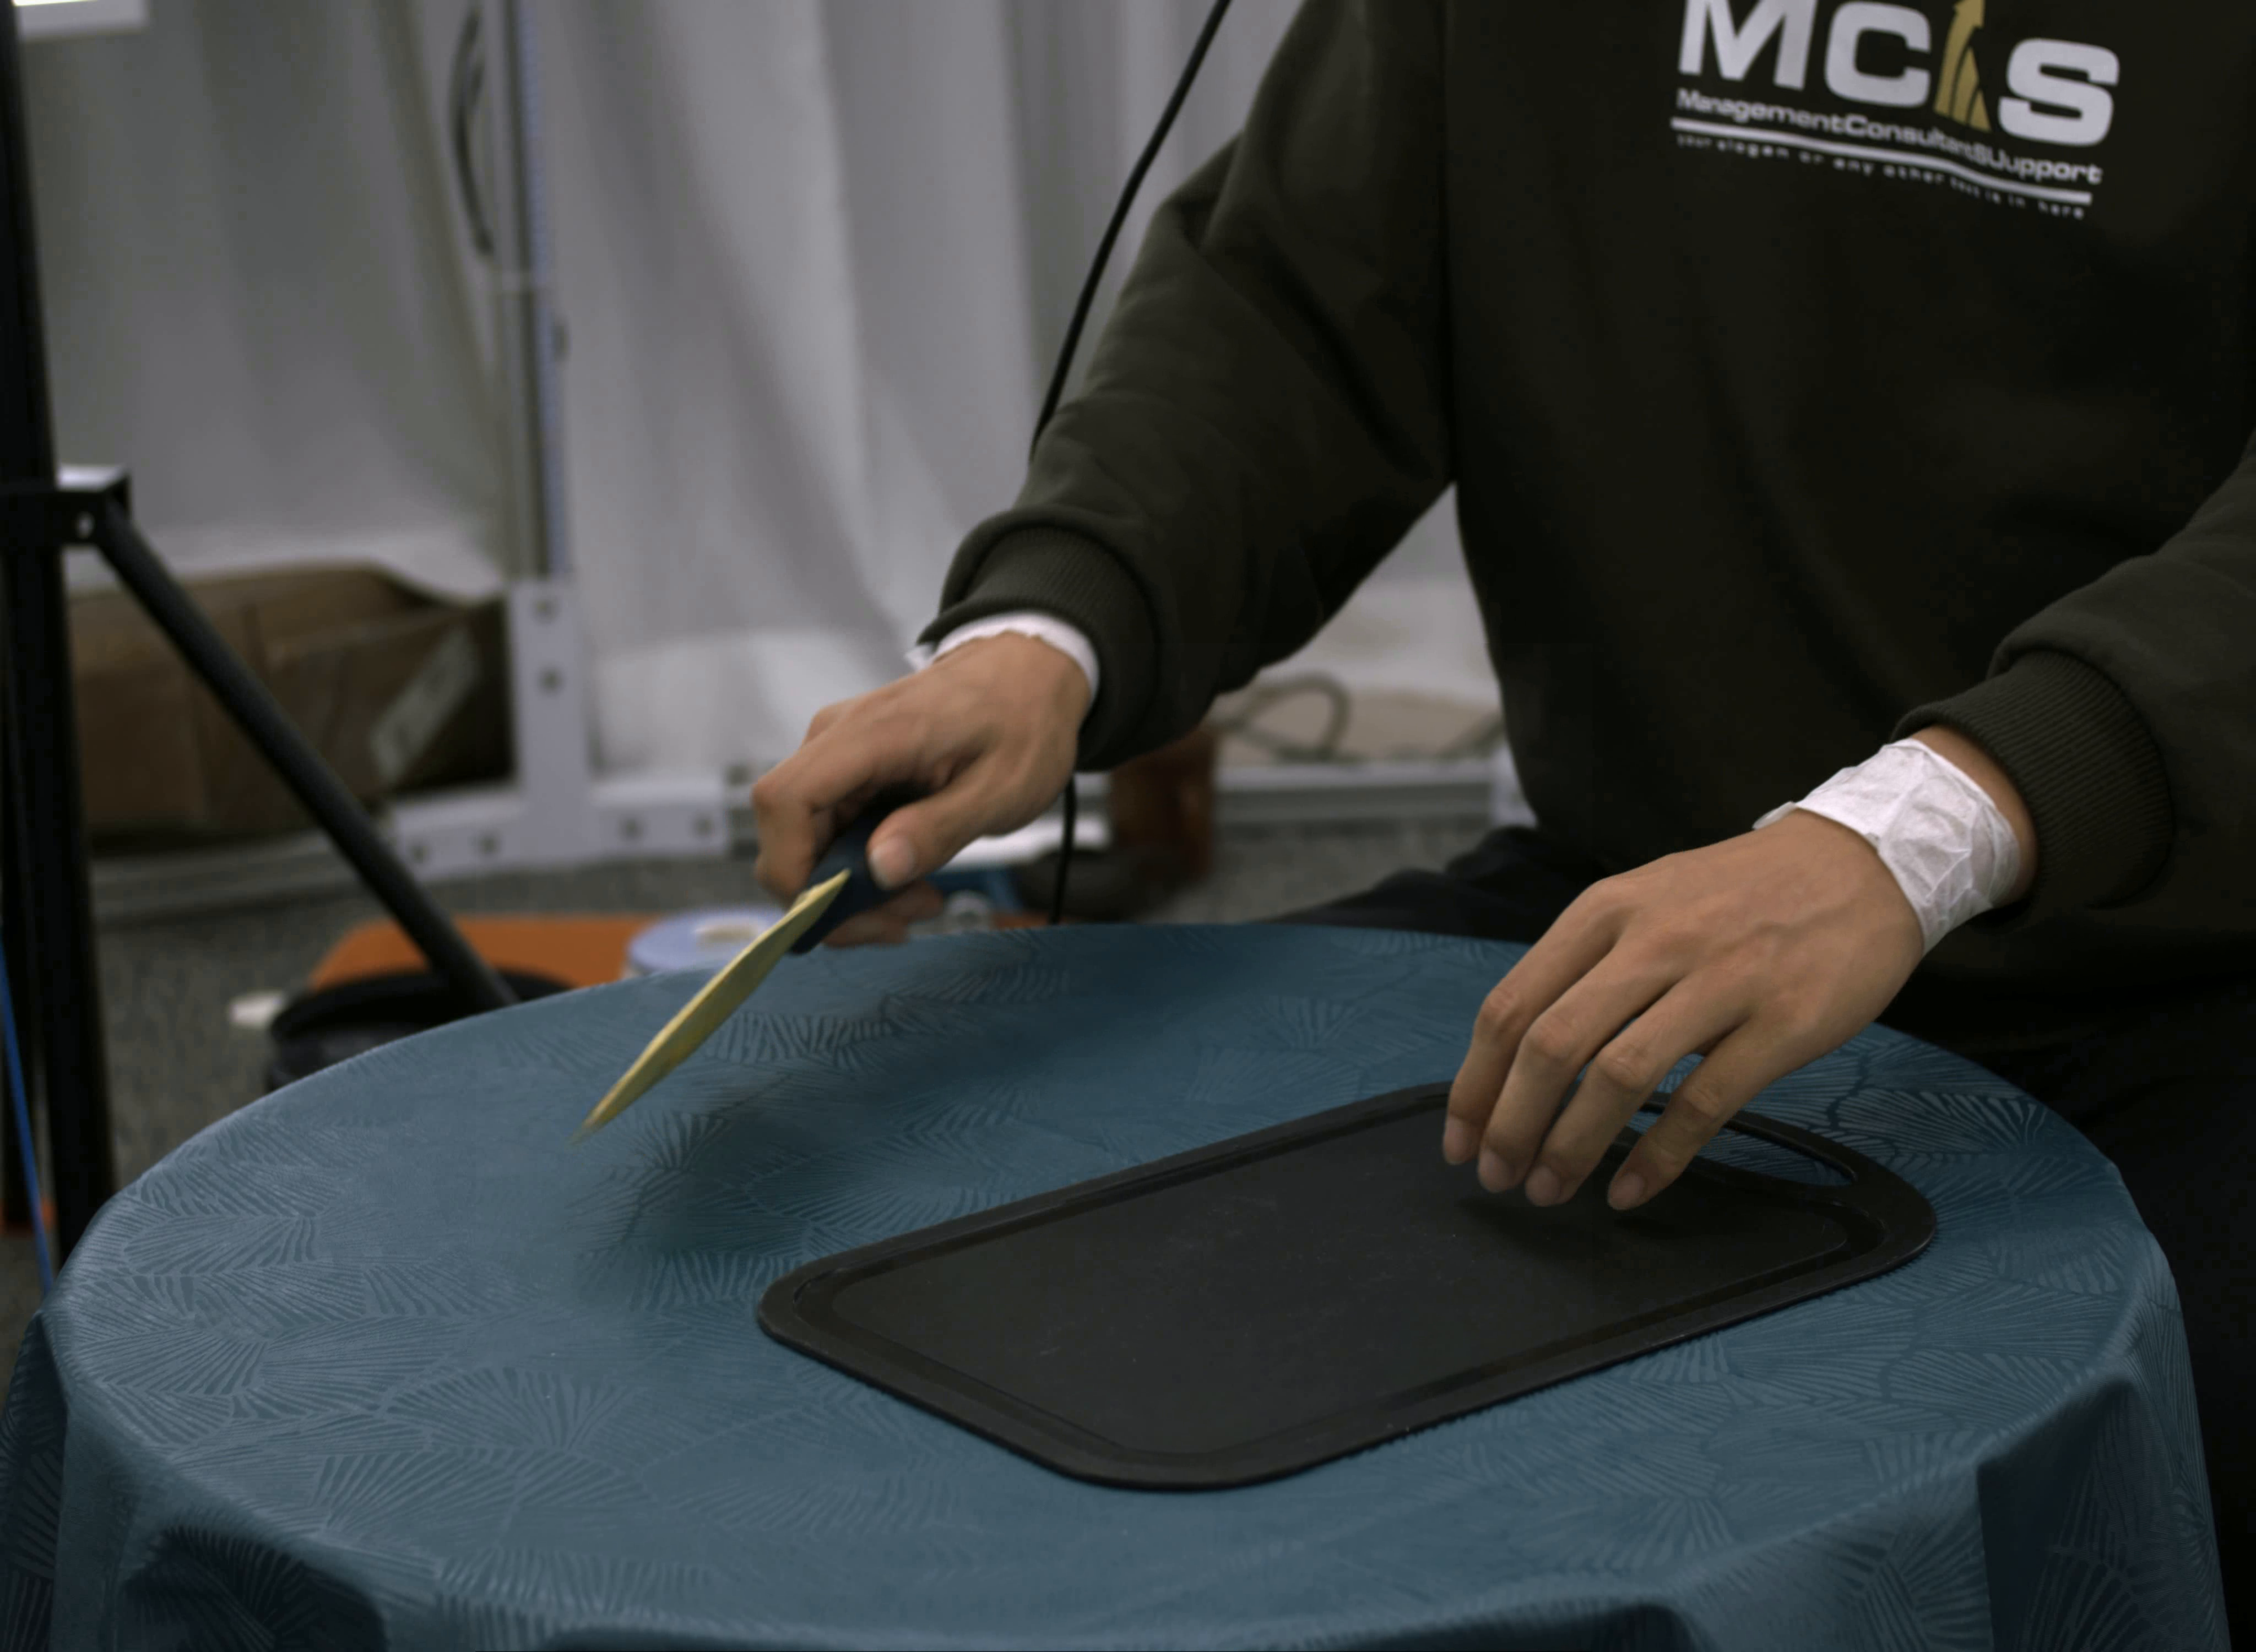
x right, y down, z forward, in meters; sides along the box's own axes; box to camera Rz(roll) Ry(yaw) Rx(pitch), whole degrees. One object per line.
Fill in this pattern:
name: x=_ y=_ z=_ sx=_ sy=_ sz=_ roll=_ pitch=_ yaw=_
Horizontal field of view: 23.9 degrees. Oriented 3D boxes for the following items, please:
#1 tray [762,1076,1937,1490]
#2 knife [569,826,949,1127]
tray: x=0.070 y=0.120 z=1.494 sx=0.318 sy=0.010 sz=0.216 roll=-14 pitch=19 yaw=-34
knife: x=-0.112 y=0.045 z=1.648 sx=0.027 sy=0.081 sz=0.286 roll=45 pitch=20 yaw=3
